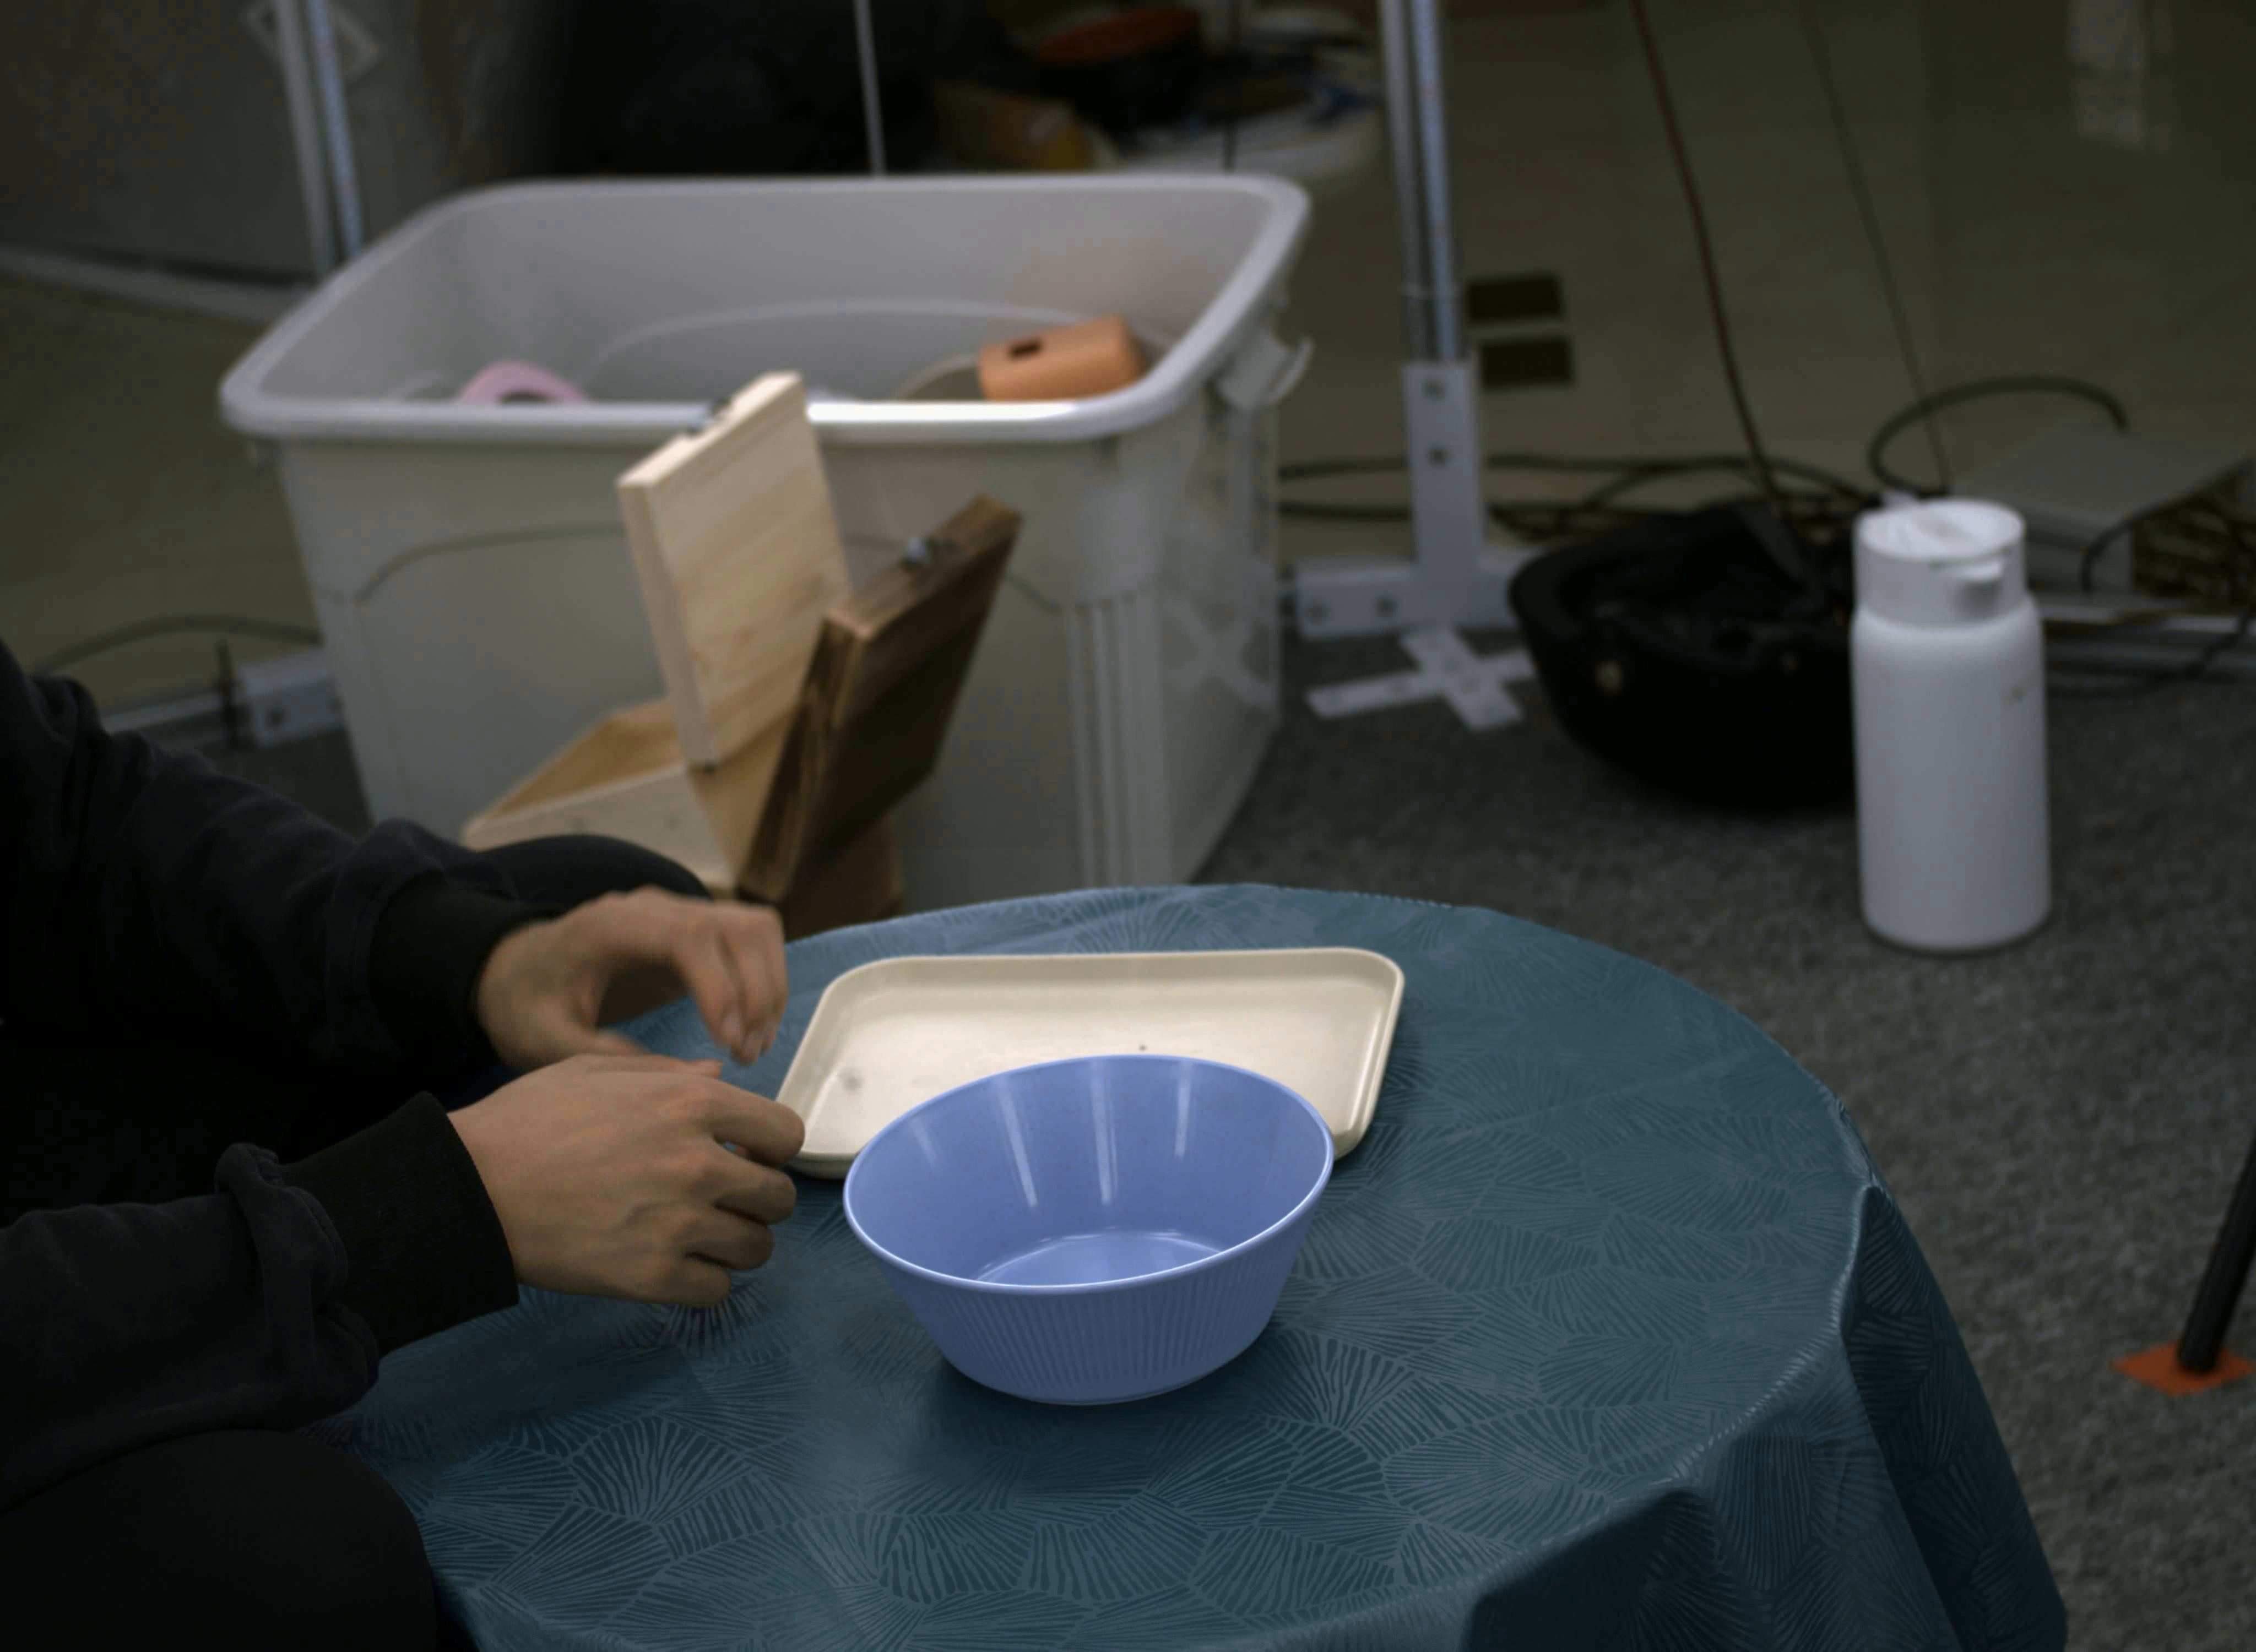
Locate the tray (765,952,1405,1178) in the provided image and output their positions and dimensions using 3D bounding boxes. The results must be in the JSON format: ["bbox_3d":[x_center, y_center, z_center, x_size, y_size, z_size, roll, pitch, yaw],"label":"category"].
[{"bbox_3d":[-0.015,0.095,2.230,0.239,0.018,0.169,-1,25,11],"label":"tray"}]

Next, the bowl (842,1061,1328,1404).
[{"bbox_3d":[-0.013,0.152,2.043,0.176,0.071,0.173,-4,25,2],"label":"bowl"}]
